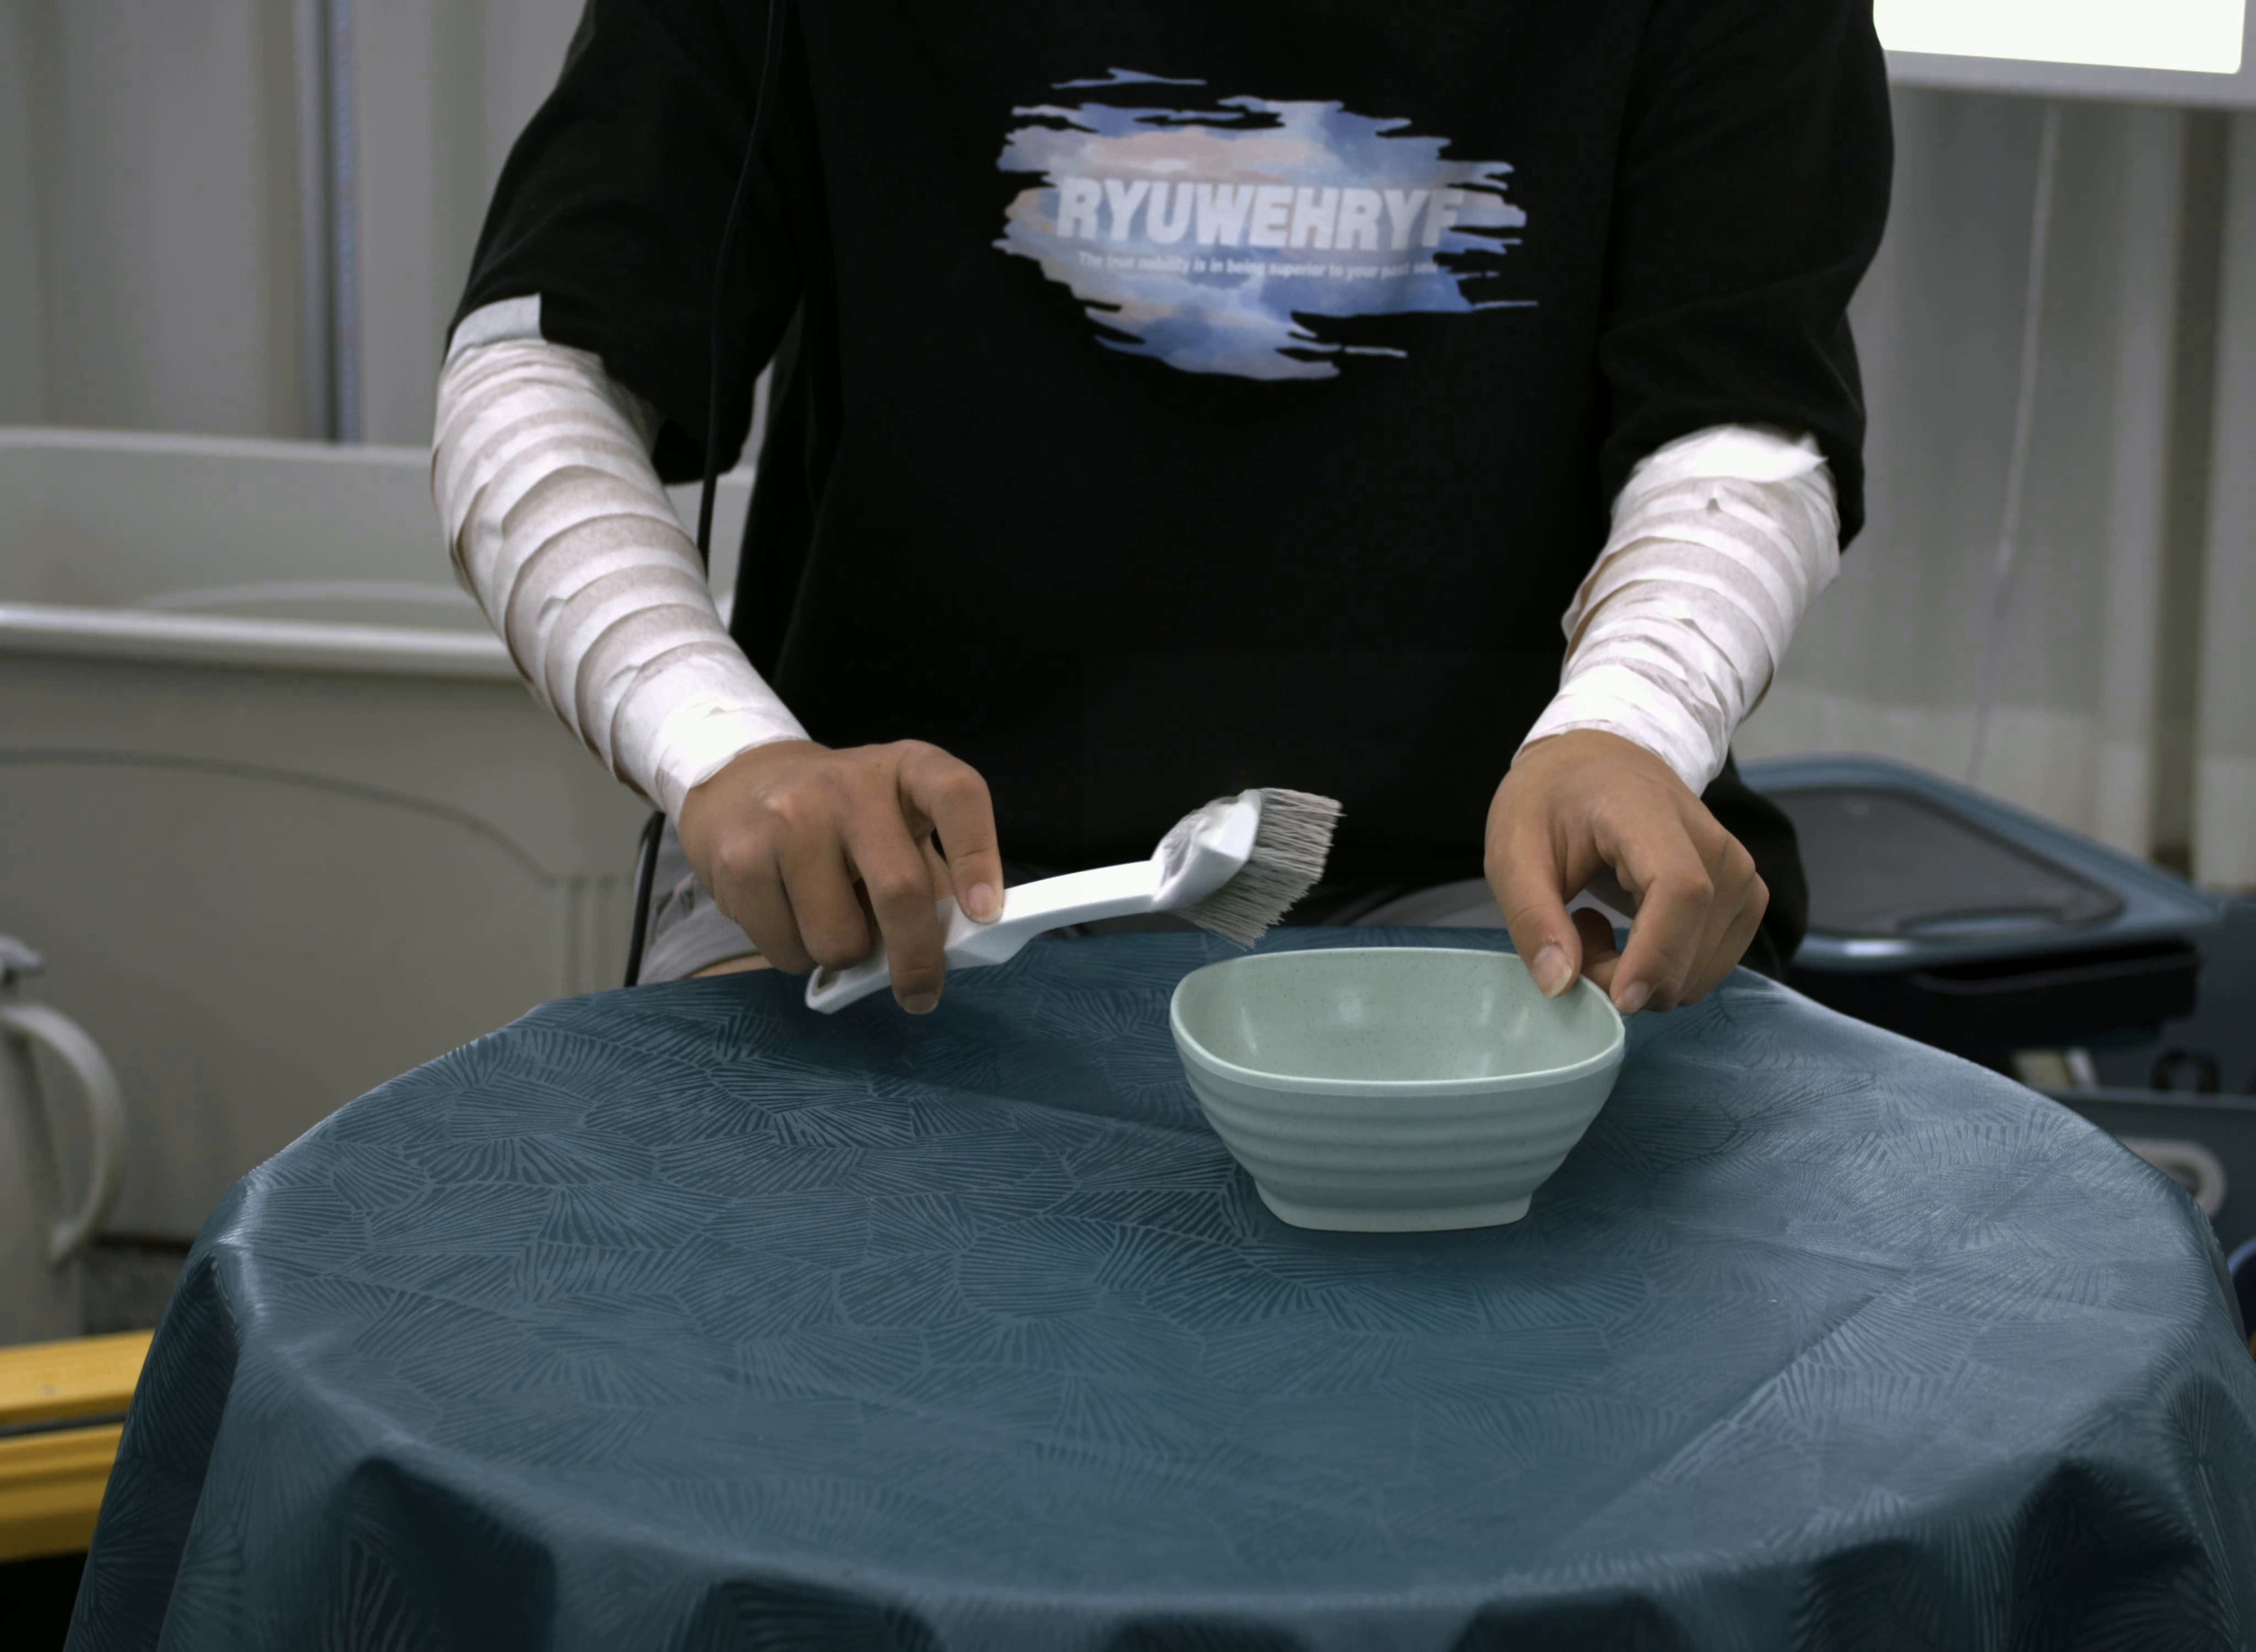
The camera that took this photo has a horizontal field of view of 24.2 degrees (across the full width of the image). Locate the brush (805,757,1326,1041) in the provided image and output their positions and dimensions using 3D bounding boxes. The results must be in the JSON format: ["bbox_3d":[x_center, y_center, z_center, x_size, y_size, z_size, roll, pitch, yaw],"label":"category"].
[{"bbox_3d":[-0.020,0.034,1.700,0.051,0.034,0.242,27,-34,-28],"label":"brush"}]

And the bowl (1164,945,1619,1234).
[{"bbox_3d":[0.080,0.084,1.622,0.151,0.059,0.150,2,16,0],"label":"bowl"}]
